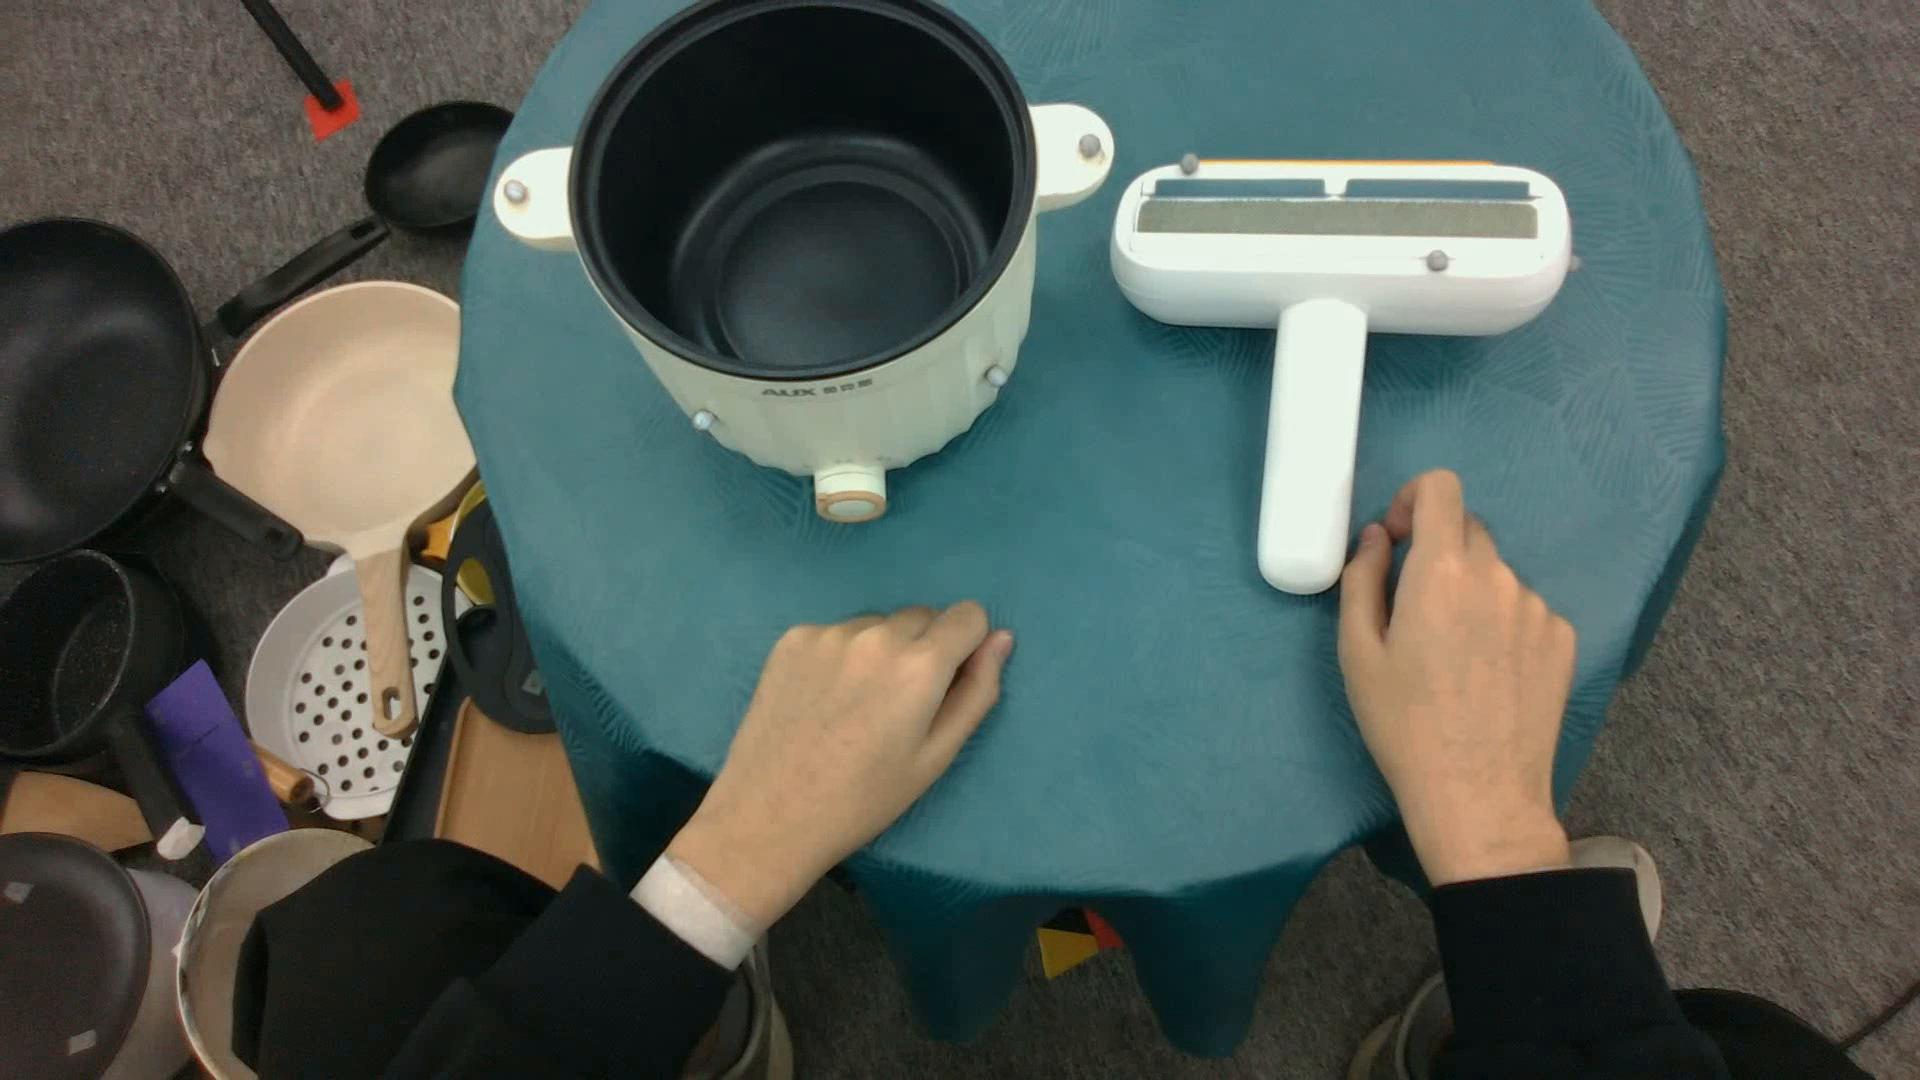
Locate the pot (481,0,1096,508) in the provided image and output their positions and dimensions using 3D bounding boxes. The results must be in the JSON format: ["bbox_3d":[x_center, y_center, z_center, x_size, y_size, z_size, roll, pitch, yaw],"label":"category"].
[{"bbox_3d":[-0.062,-0.122,0.590,0.240,0.142,0.191,-6,68,2],"label":"pot"}]

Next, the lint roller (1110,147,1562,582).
[{"bbox_3d":[0.151,-0.078,0.602,0.193,0.074,0.193,10,72,12],"label":"lint roller"}]
